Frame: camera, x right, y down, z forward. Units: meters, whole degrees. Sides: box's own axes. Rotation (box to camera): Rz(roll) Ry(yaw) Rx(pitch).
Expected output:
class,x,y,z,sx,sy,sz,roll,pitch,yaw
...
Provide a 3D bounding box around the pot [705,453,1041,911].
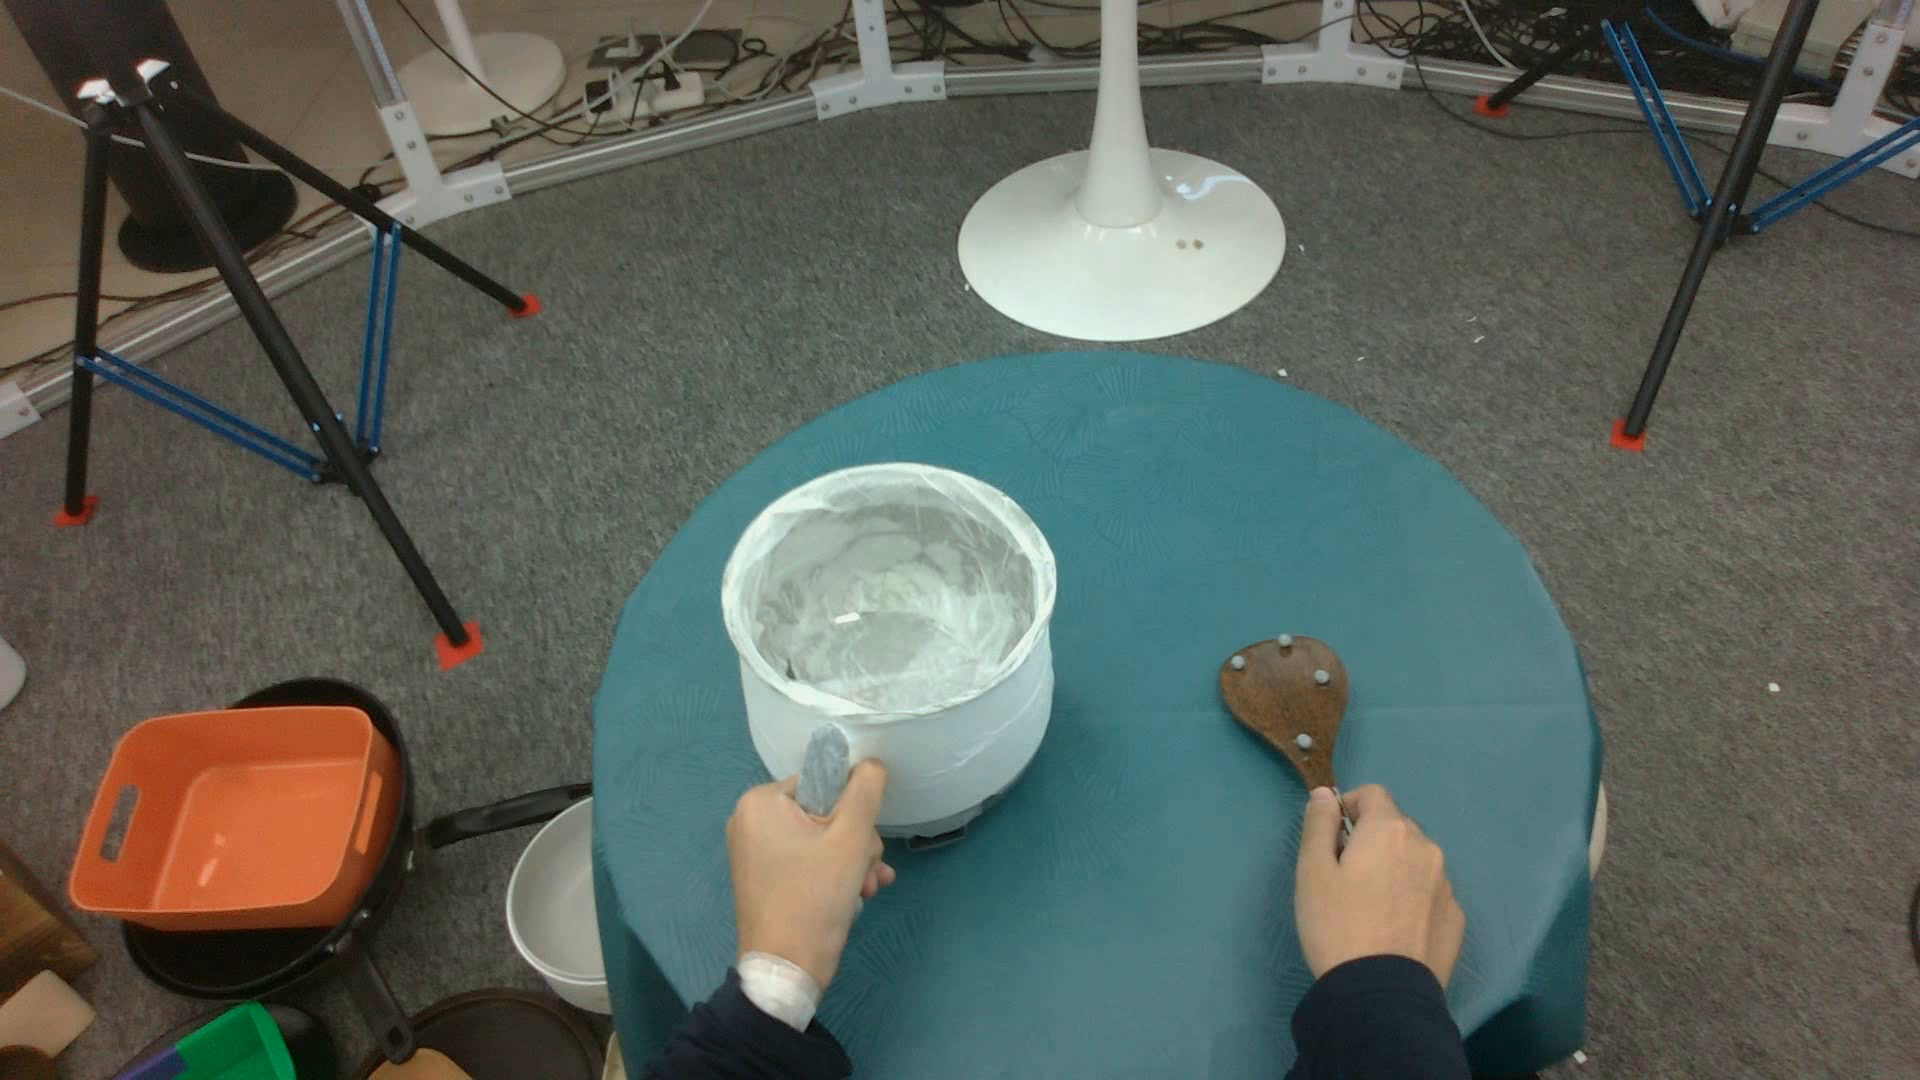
class,x,y,z,sx,sy,sz,roll,pitch,yaw
pot,-0.049,0.077,0.751,0.178,0.136,0.235,7,47,11

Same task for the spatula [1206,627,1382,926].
class,x,y,z,sx,sy,sz,roll,pitch,yaw
spatula,0.189,0.124,0.764,0.072,0.009,0.216,-15,39,6
